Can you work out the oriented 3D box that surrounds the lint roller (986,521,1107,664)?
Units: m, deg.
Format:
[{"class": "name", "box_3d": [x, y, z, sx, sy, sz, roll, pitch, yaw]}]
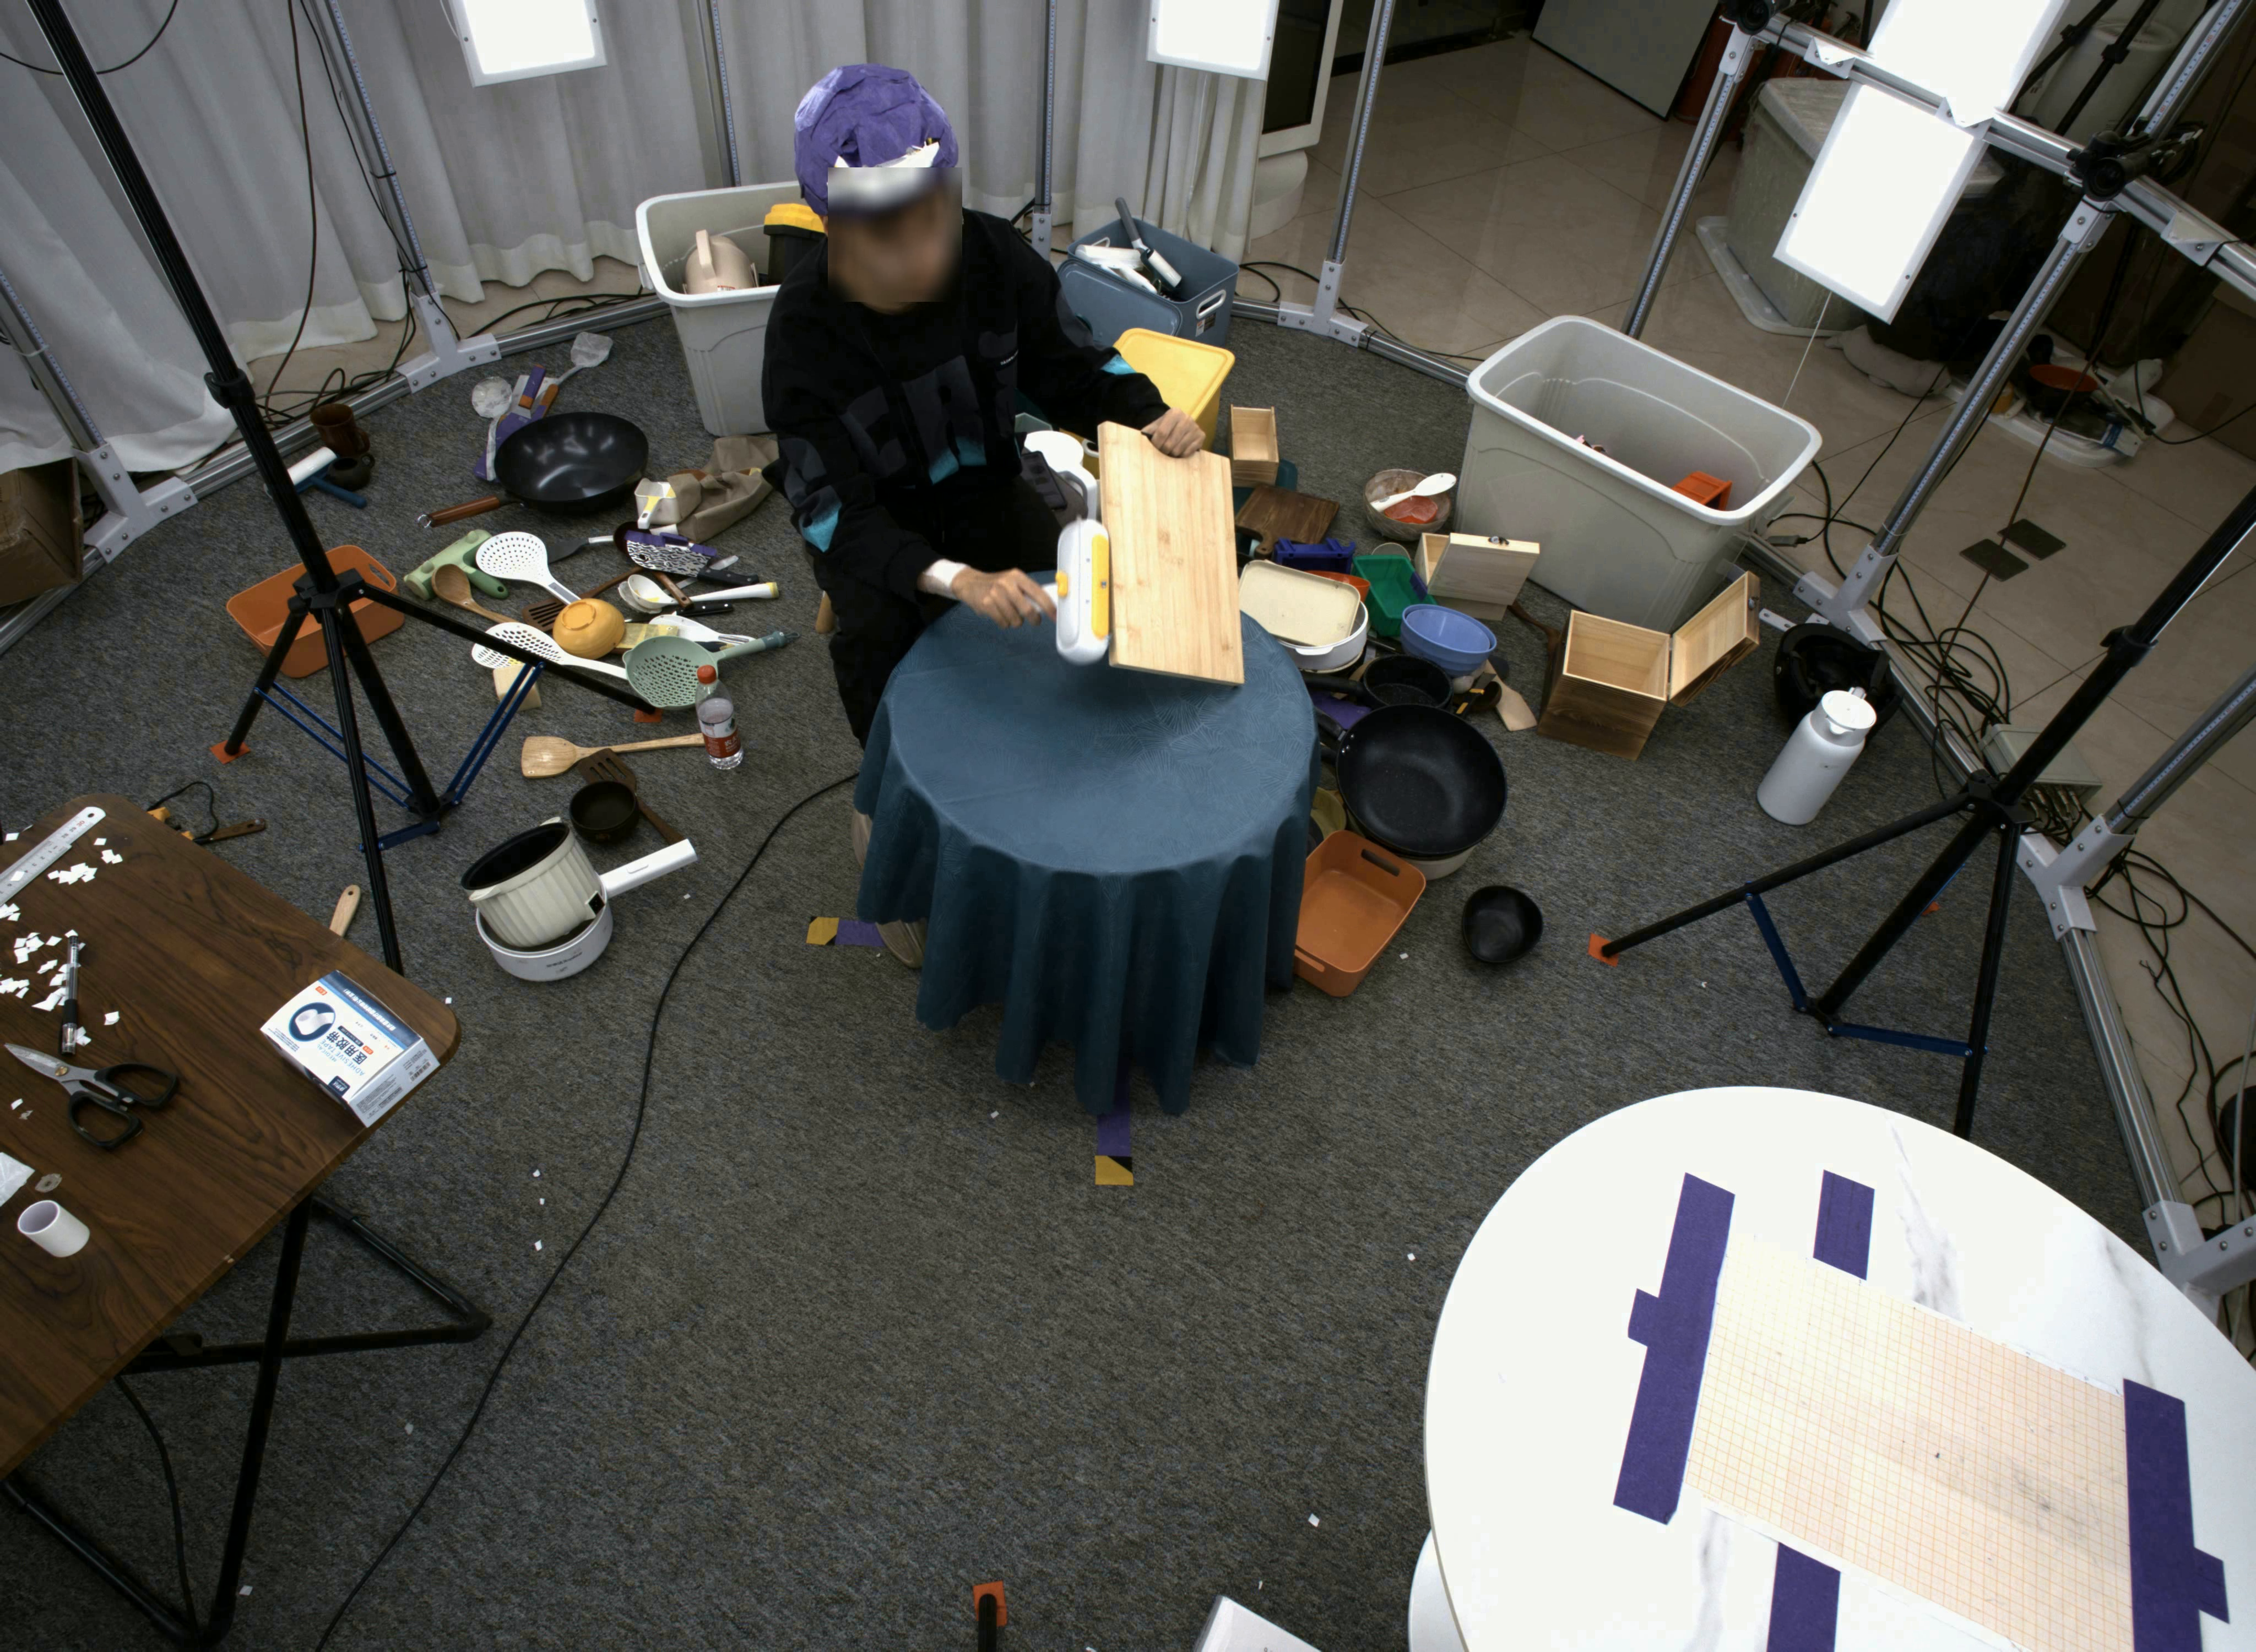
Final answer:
[{"class": "lint roller", "box_3d": [-0.109, -0.304, 1.747, 0.073, 0.192, 0.194, 6, 76, -47]}]

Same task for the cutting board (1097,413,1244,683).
[{"class": "cutting board", "box_3d": [0.061, -0.383, 1.805, 0.249, 0.023, 0.351, 4, 78, -40]}]
